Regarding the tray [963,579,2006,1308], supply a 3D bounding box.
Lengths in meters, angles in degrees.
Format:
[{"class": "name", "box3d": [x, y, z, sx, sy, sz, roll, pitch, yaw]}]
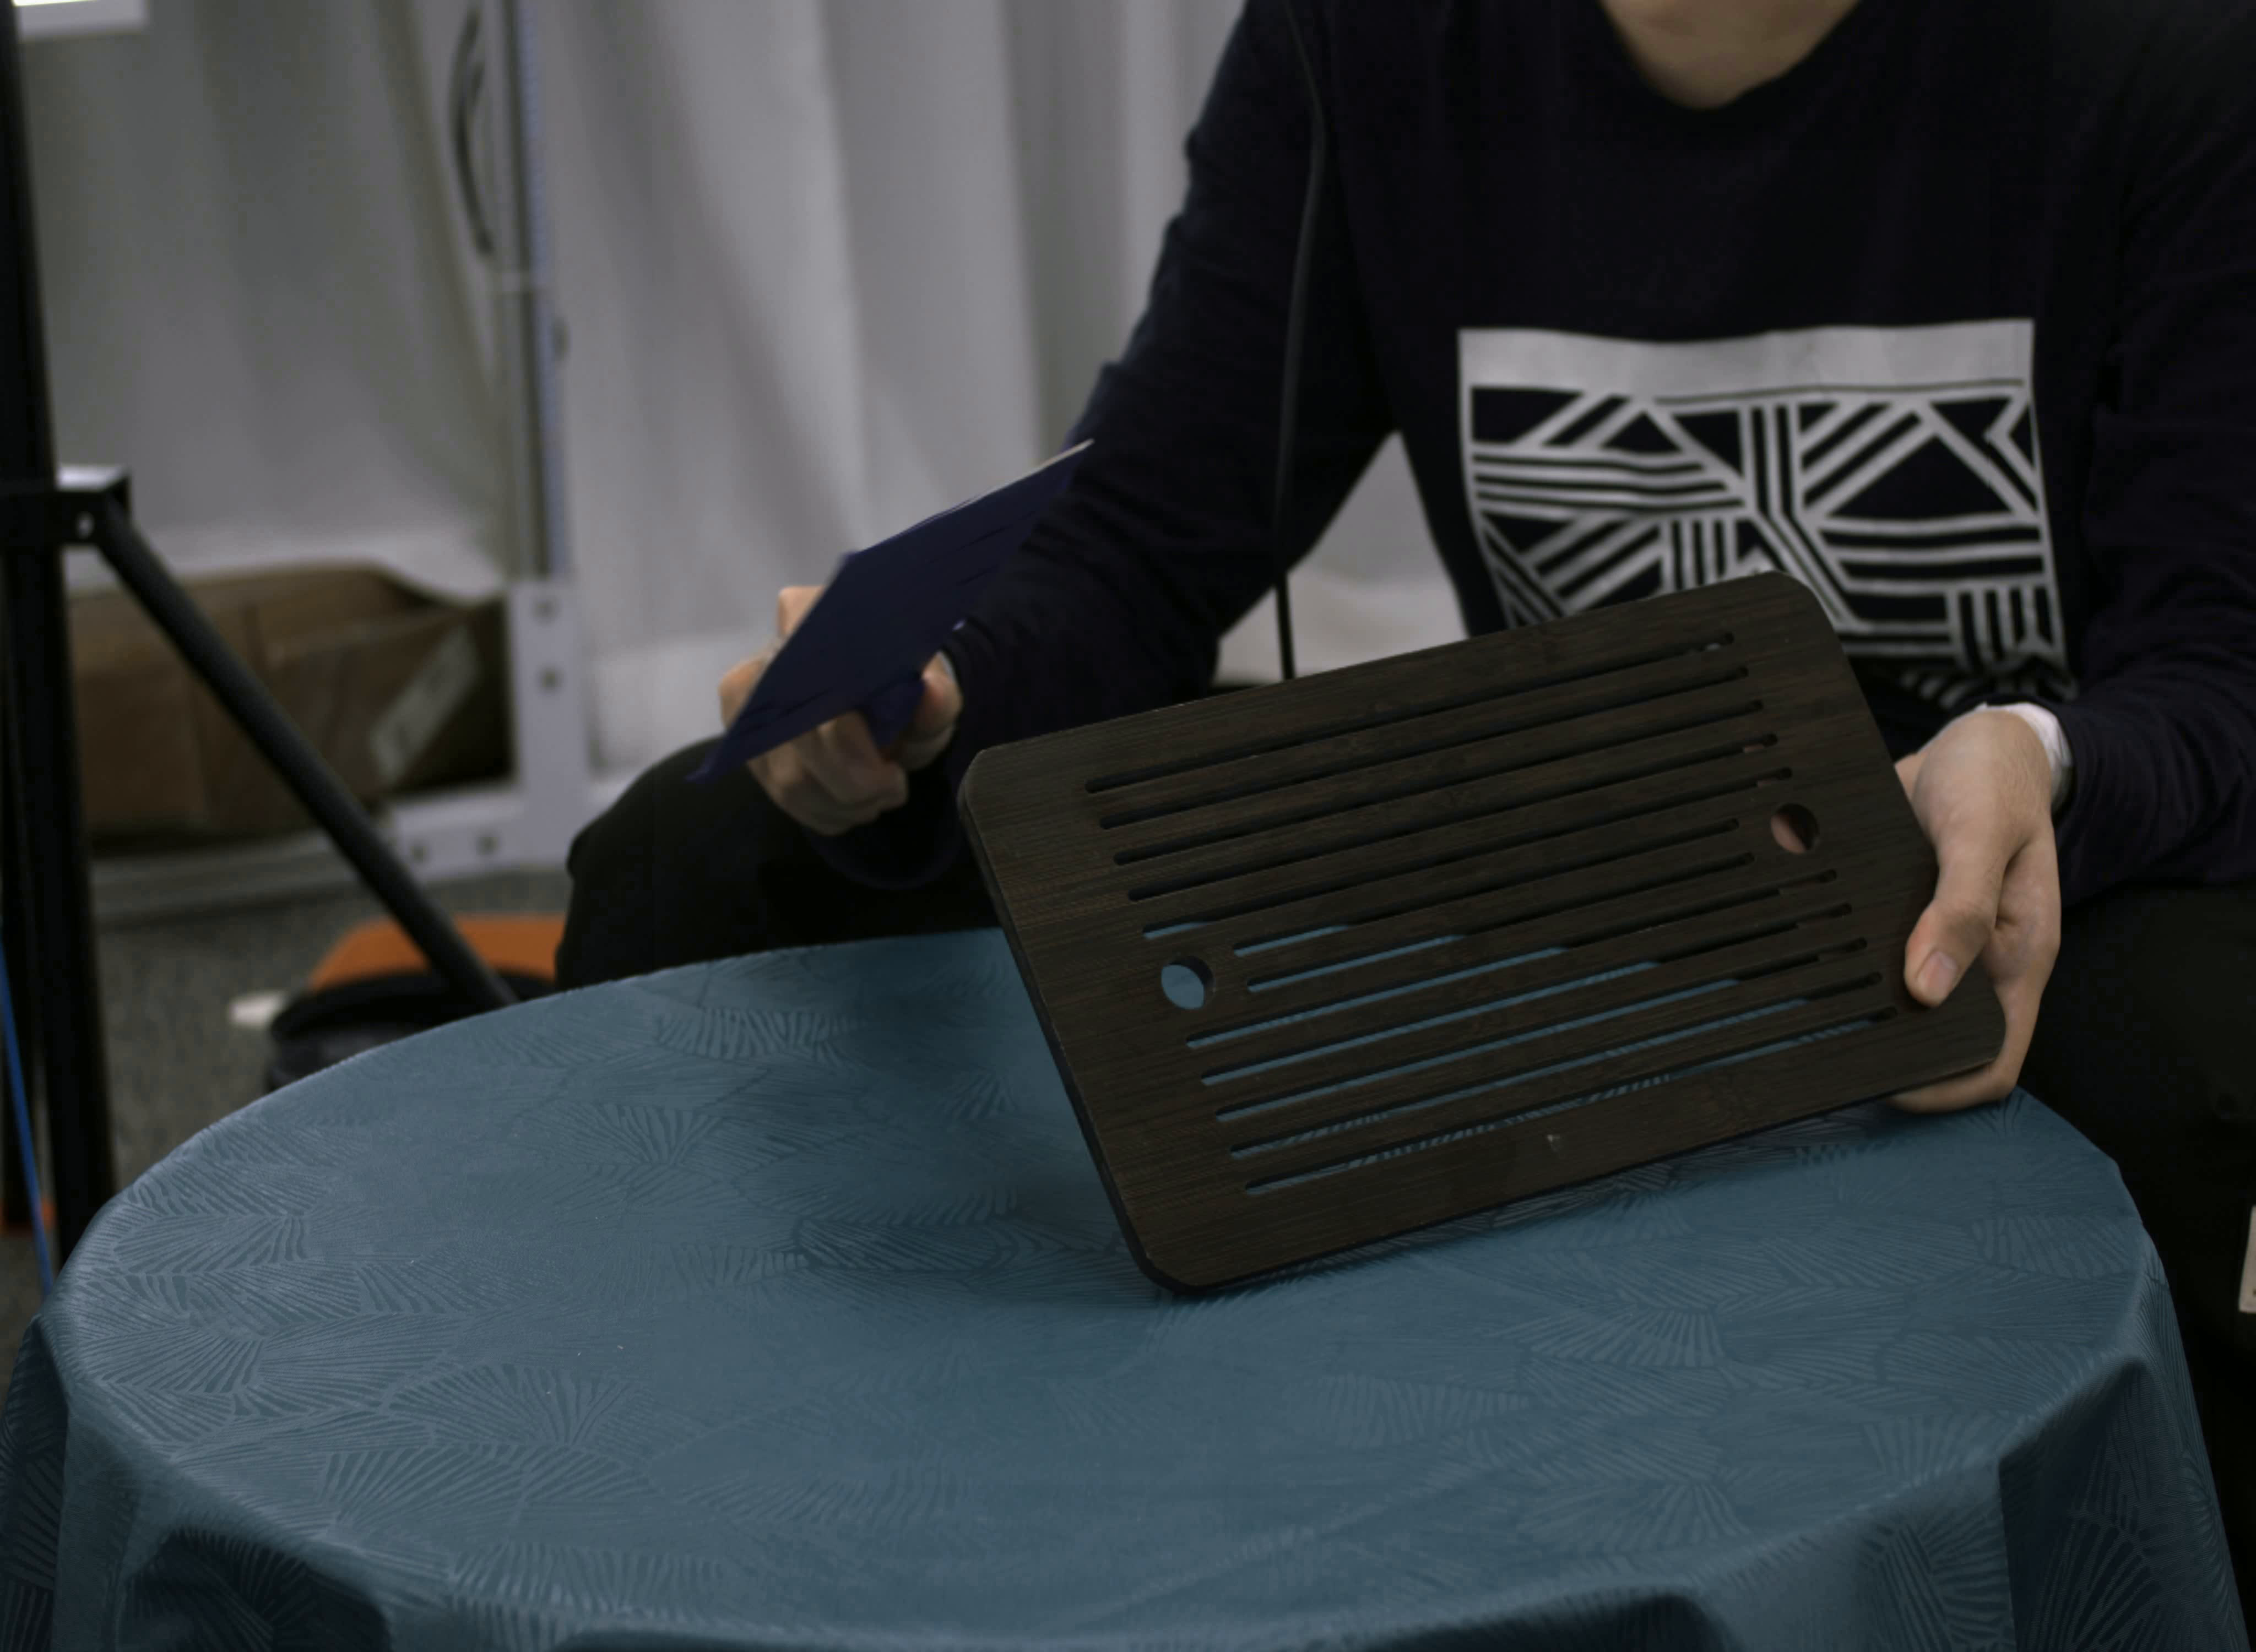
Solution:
[{"class": "tray", "box3d": [0.108, 0.031, 1.562, 0.299, 0.172, 0.019, -13, -20, -27]}]

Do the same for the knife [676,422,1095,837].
[{"class": "knife", "box3d": [-0.096, -0.050, 1.689, 0.102, 0.032, 0.317, -24, -11, -23]}]
